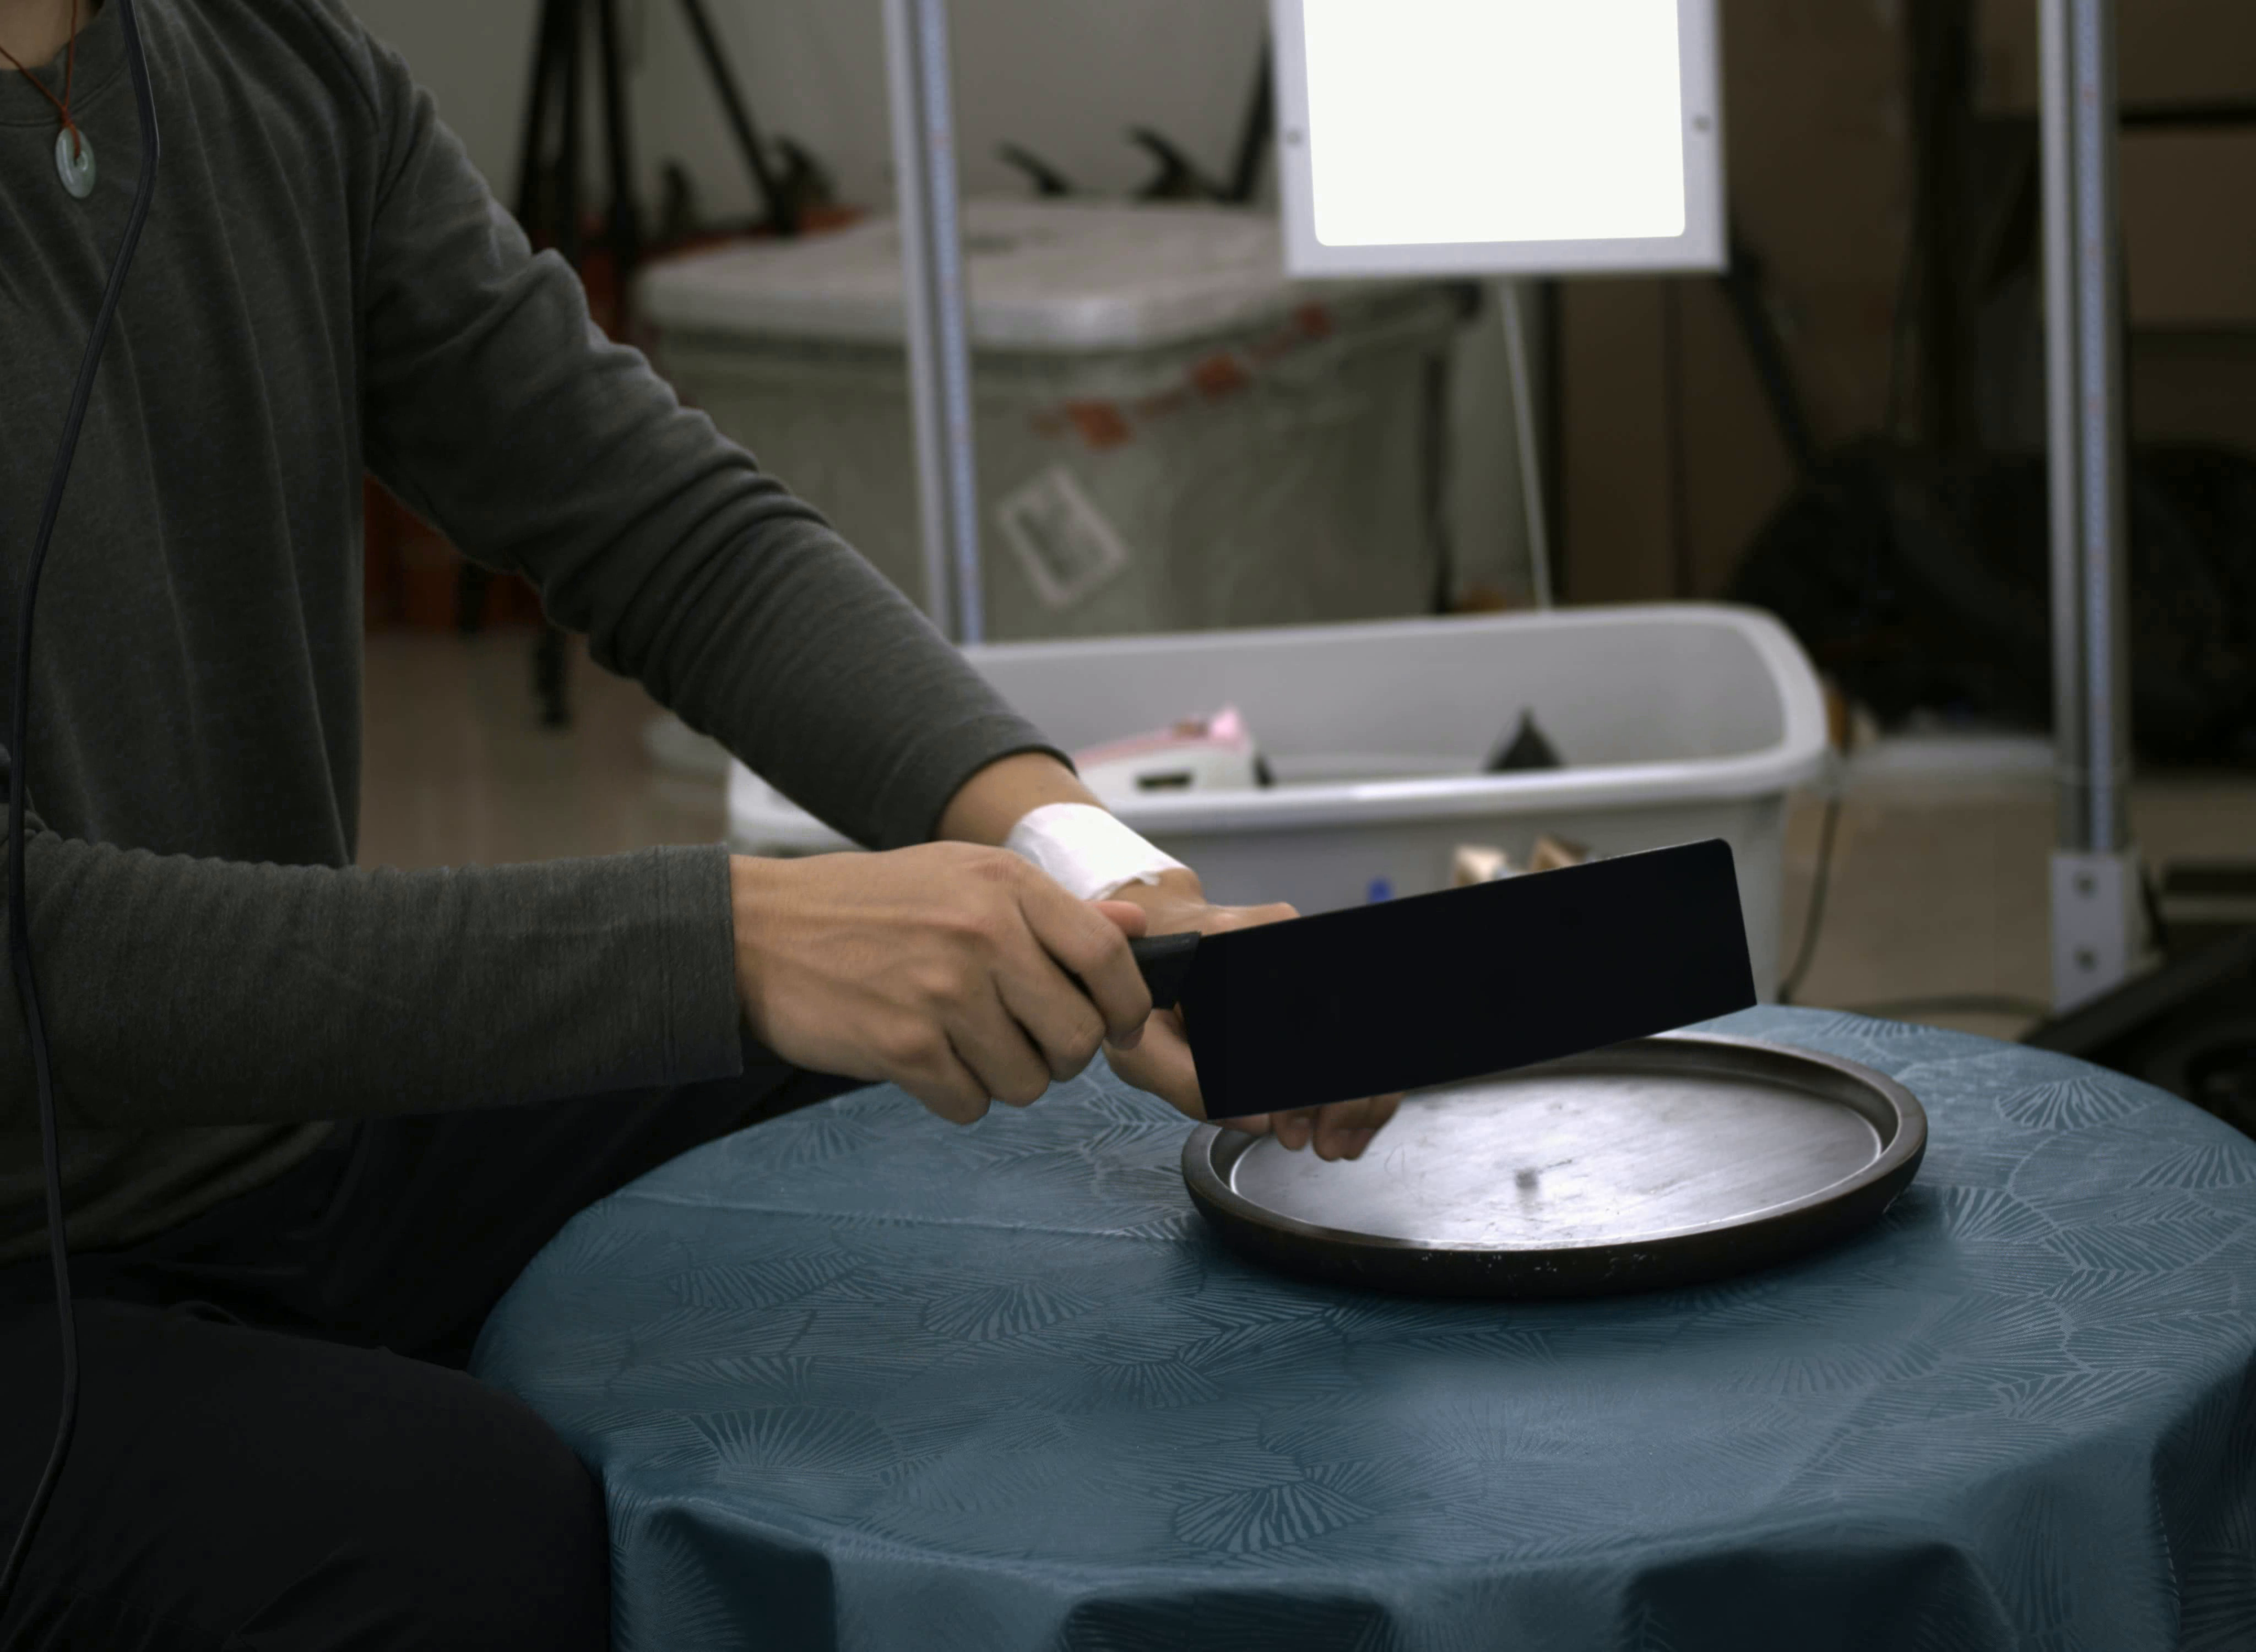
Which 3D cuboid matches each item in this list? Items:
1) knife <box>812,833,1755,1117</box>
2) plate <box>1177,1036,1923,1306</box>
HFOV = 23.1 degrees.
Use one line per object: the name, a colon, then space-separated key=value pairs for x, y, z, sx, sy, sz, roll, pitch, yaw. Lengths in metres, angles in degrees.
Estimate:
knife: x=0.047 y=0.056 z=1.739 sx=0.303 sy=0.081 sz=0.021 roll=-7 pitch=23 yaw=7
plate: x=0.143 y=0.114 z=1.856 sx=0.254 sy=0.029 sz=0.254 roll=-5 pitch=15 yaw=0
